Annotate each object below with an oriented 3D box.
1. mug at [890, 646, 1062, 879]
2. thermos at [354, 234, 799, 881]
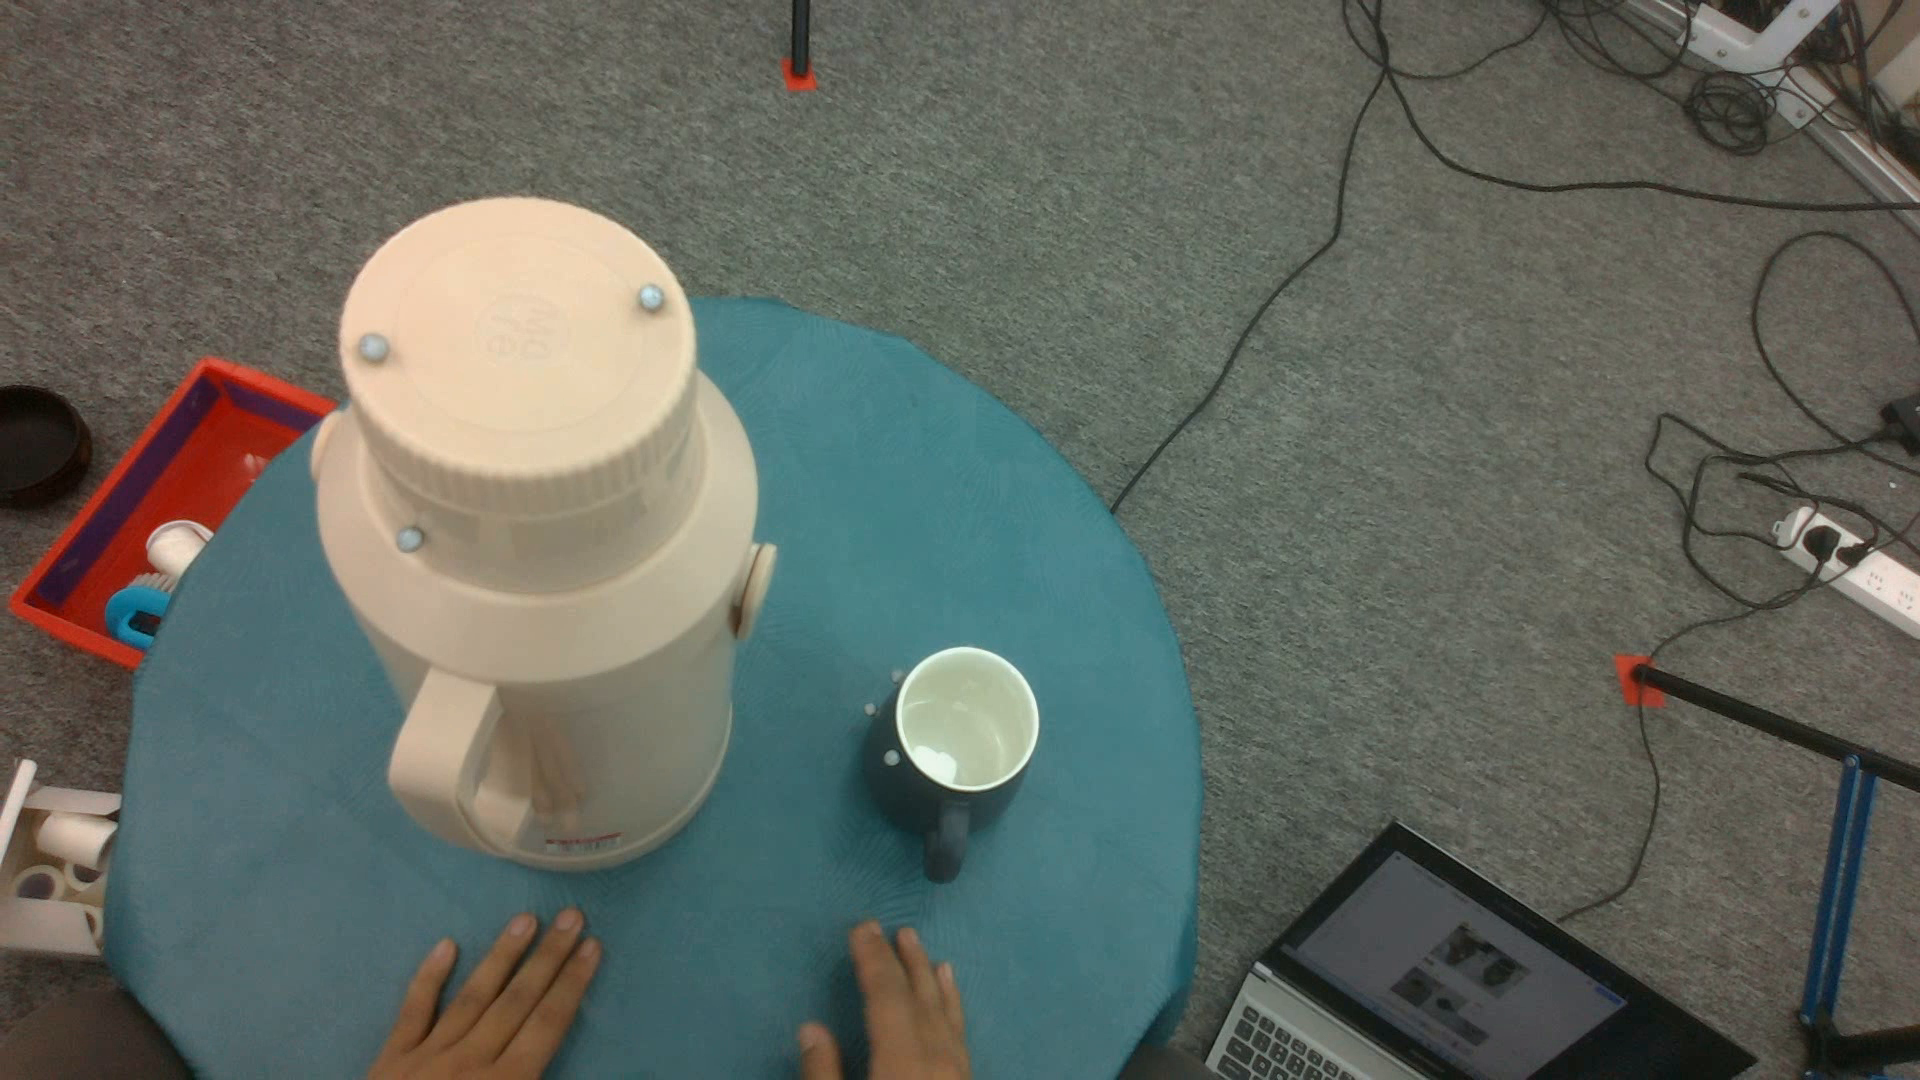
[{"bbox_3d":[0.009,0.128,0.775,0.093,0.089,0.124,8,62,-6],"label":"mug"},{"bbox_3d":[-0.168,0.043,0.613,0.175,0.404,0.208,14,62,-3],"label":"thermos"}]
